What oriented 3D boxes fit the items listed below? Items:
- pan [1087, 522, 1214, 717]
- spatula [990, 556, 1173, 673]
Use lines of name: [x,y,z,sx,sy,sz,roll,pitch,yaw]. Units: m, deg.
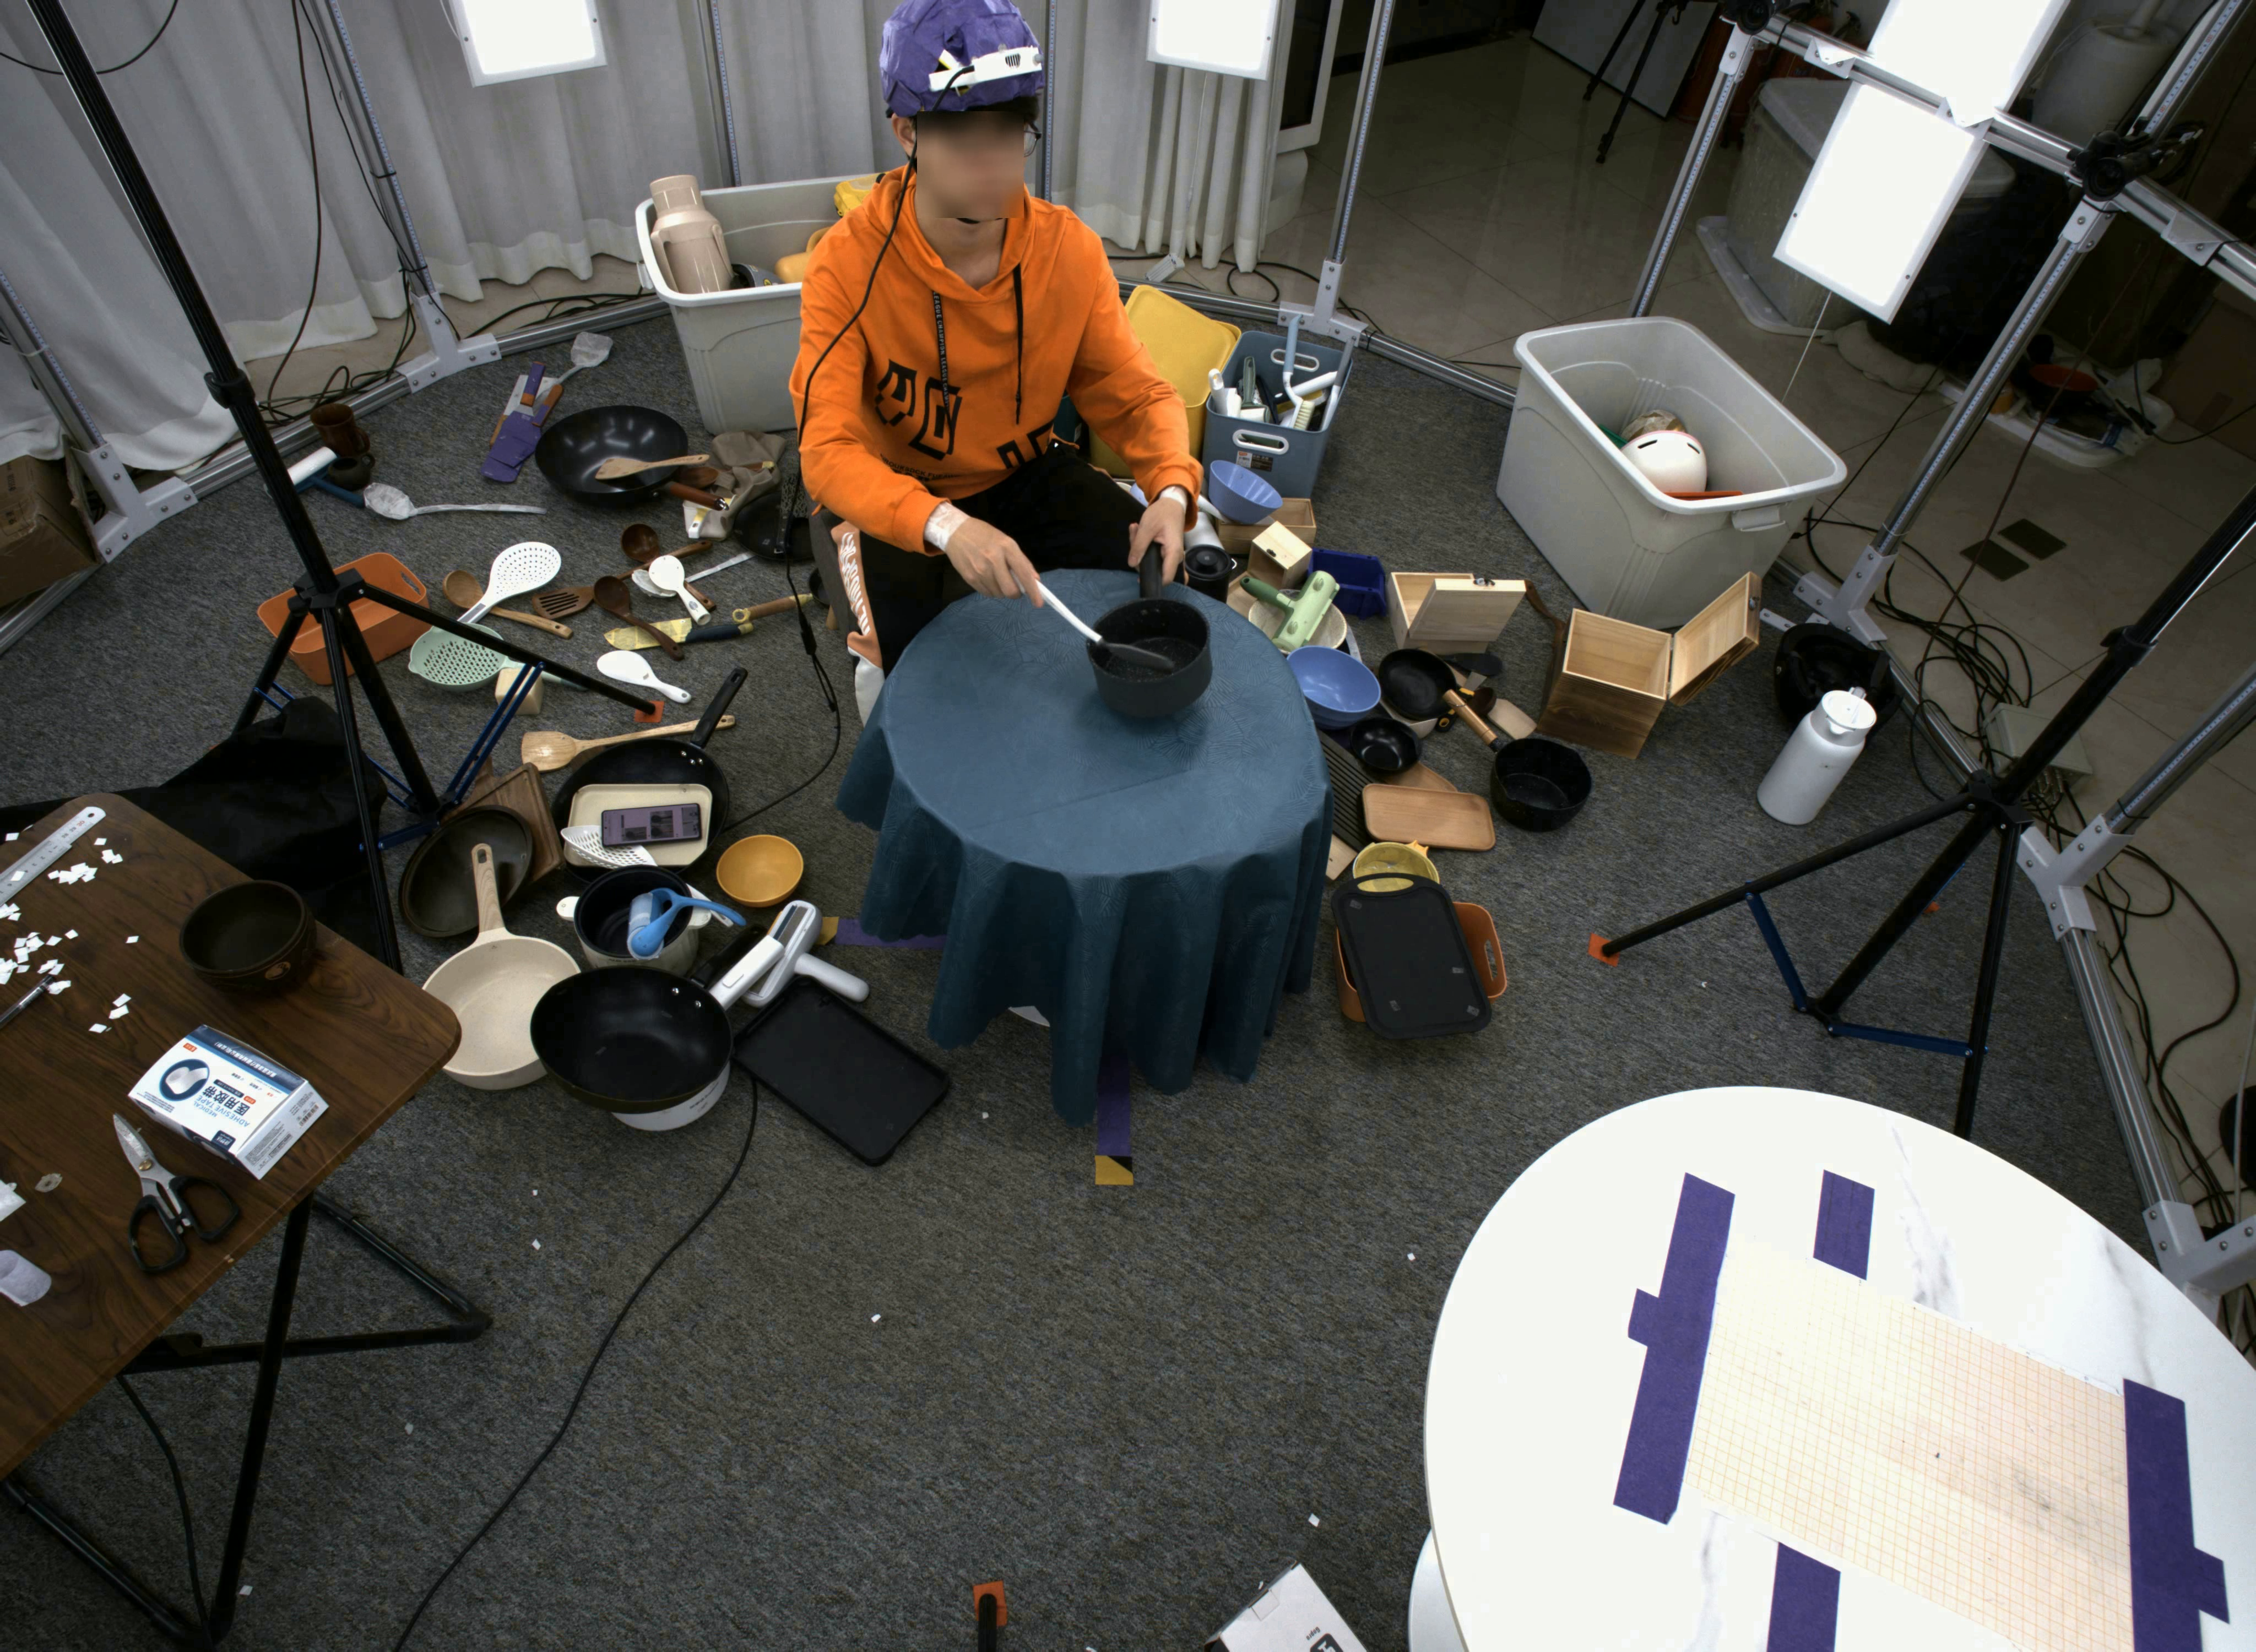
pan: [0.037,-0.296,1.826,0.172,0.084,0.337,-2,50,9]
spatula: [-0.063,-0.277,1.733,0.289,0.058,0.032,34,76,11]
